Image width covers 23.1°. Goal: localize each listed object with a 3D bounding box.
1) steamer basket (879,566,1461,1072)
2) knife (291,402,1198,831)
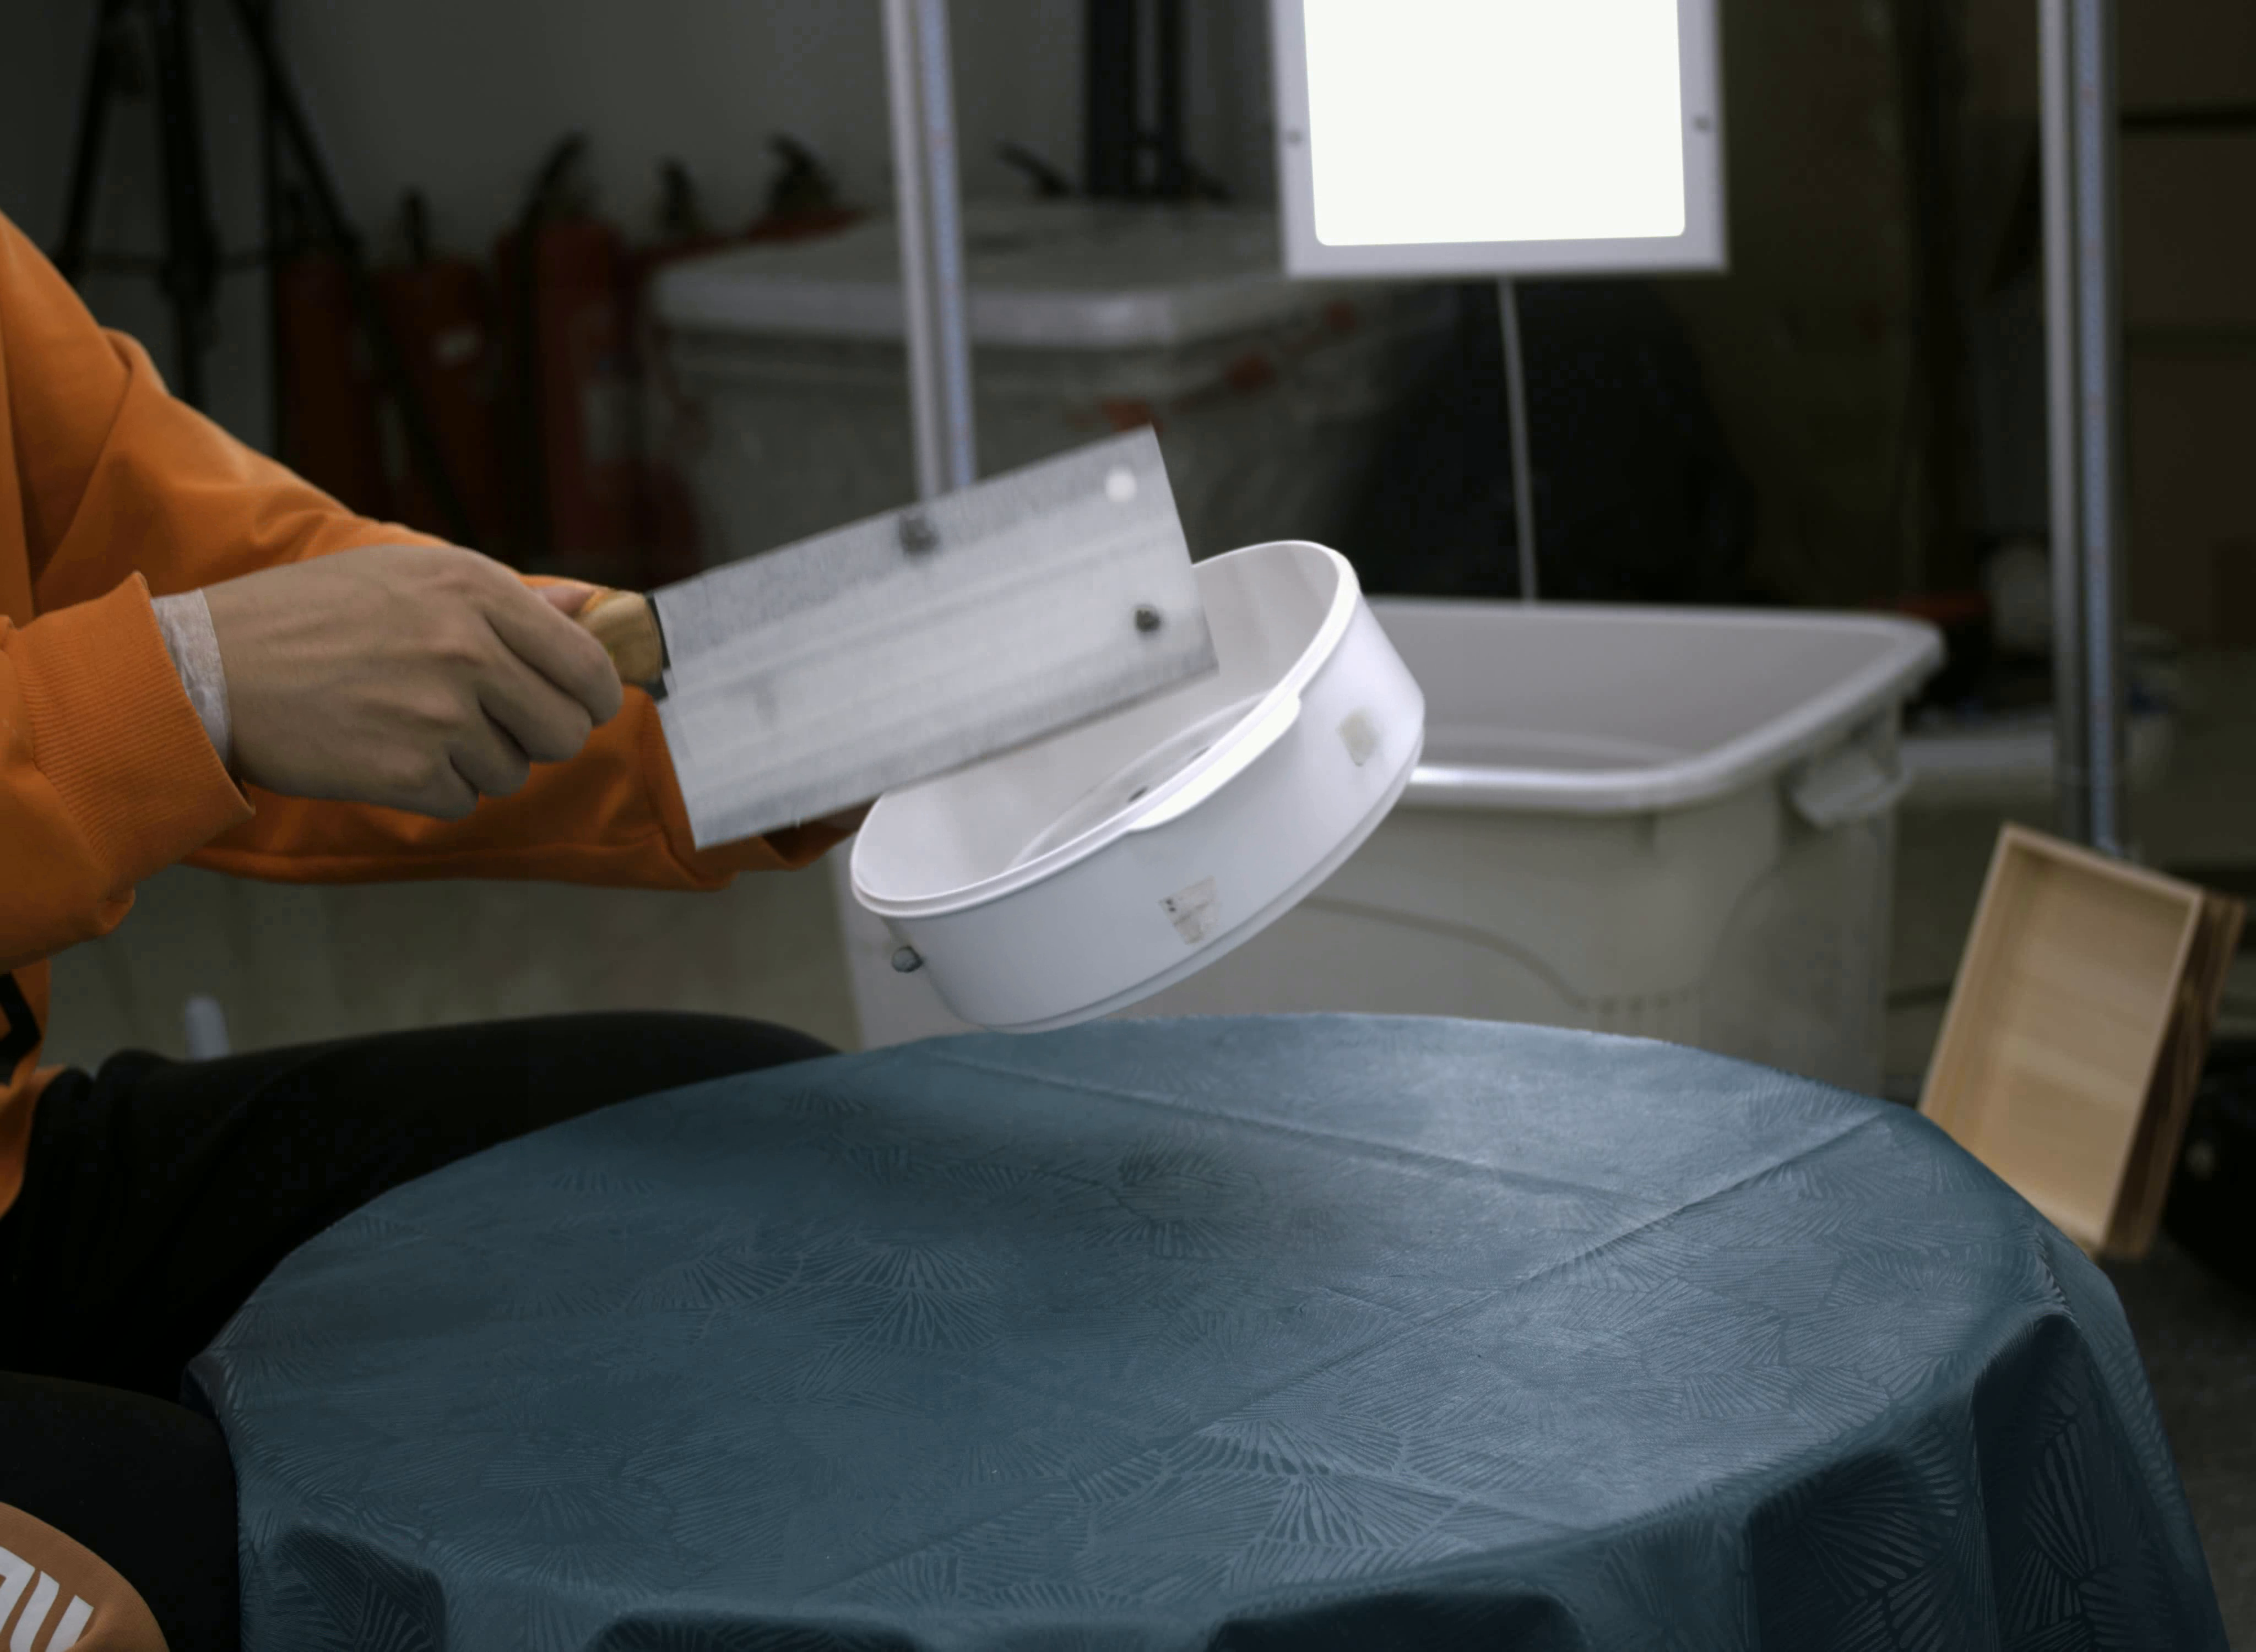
[{"bbox_3d":[0.017,-0.001,1.846,0.200,0.069,0.234,-40,24,-13],"label":"steamer basket"},{"bbox_3d":[-0.122,-0.052,1.828,0.303,0.093,0.021,-20,18,-8],"label":"knife"}]
